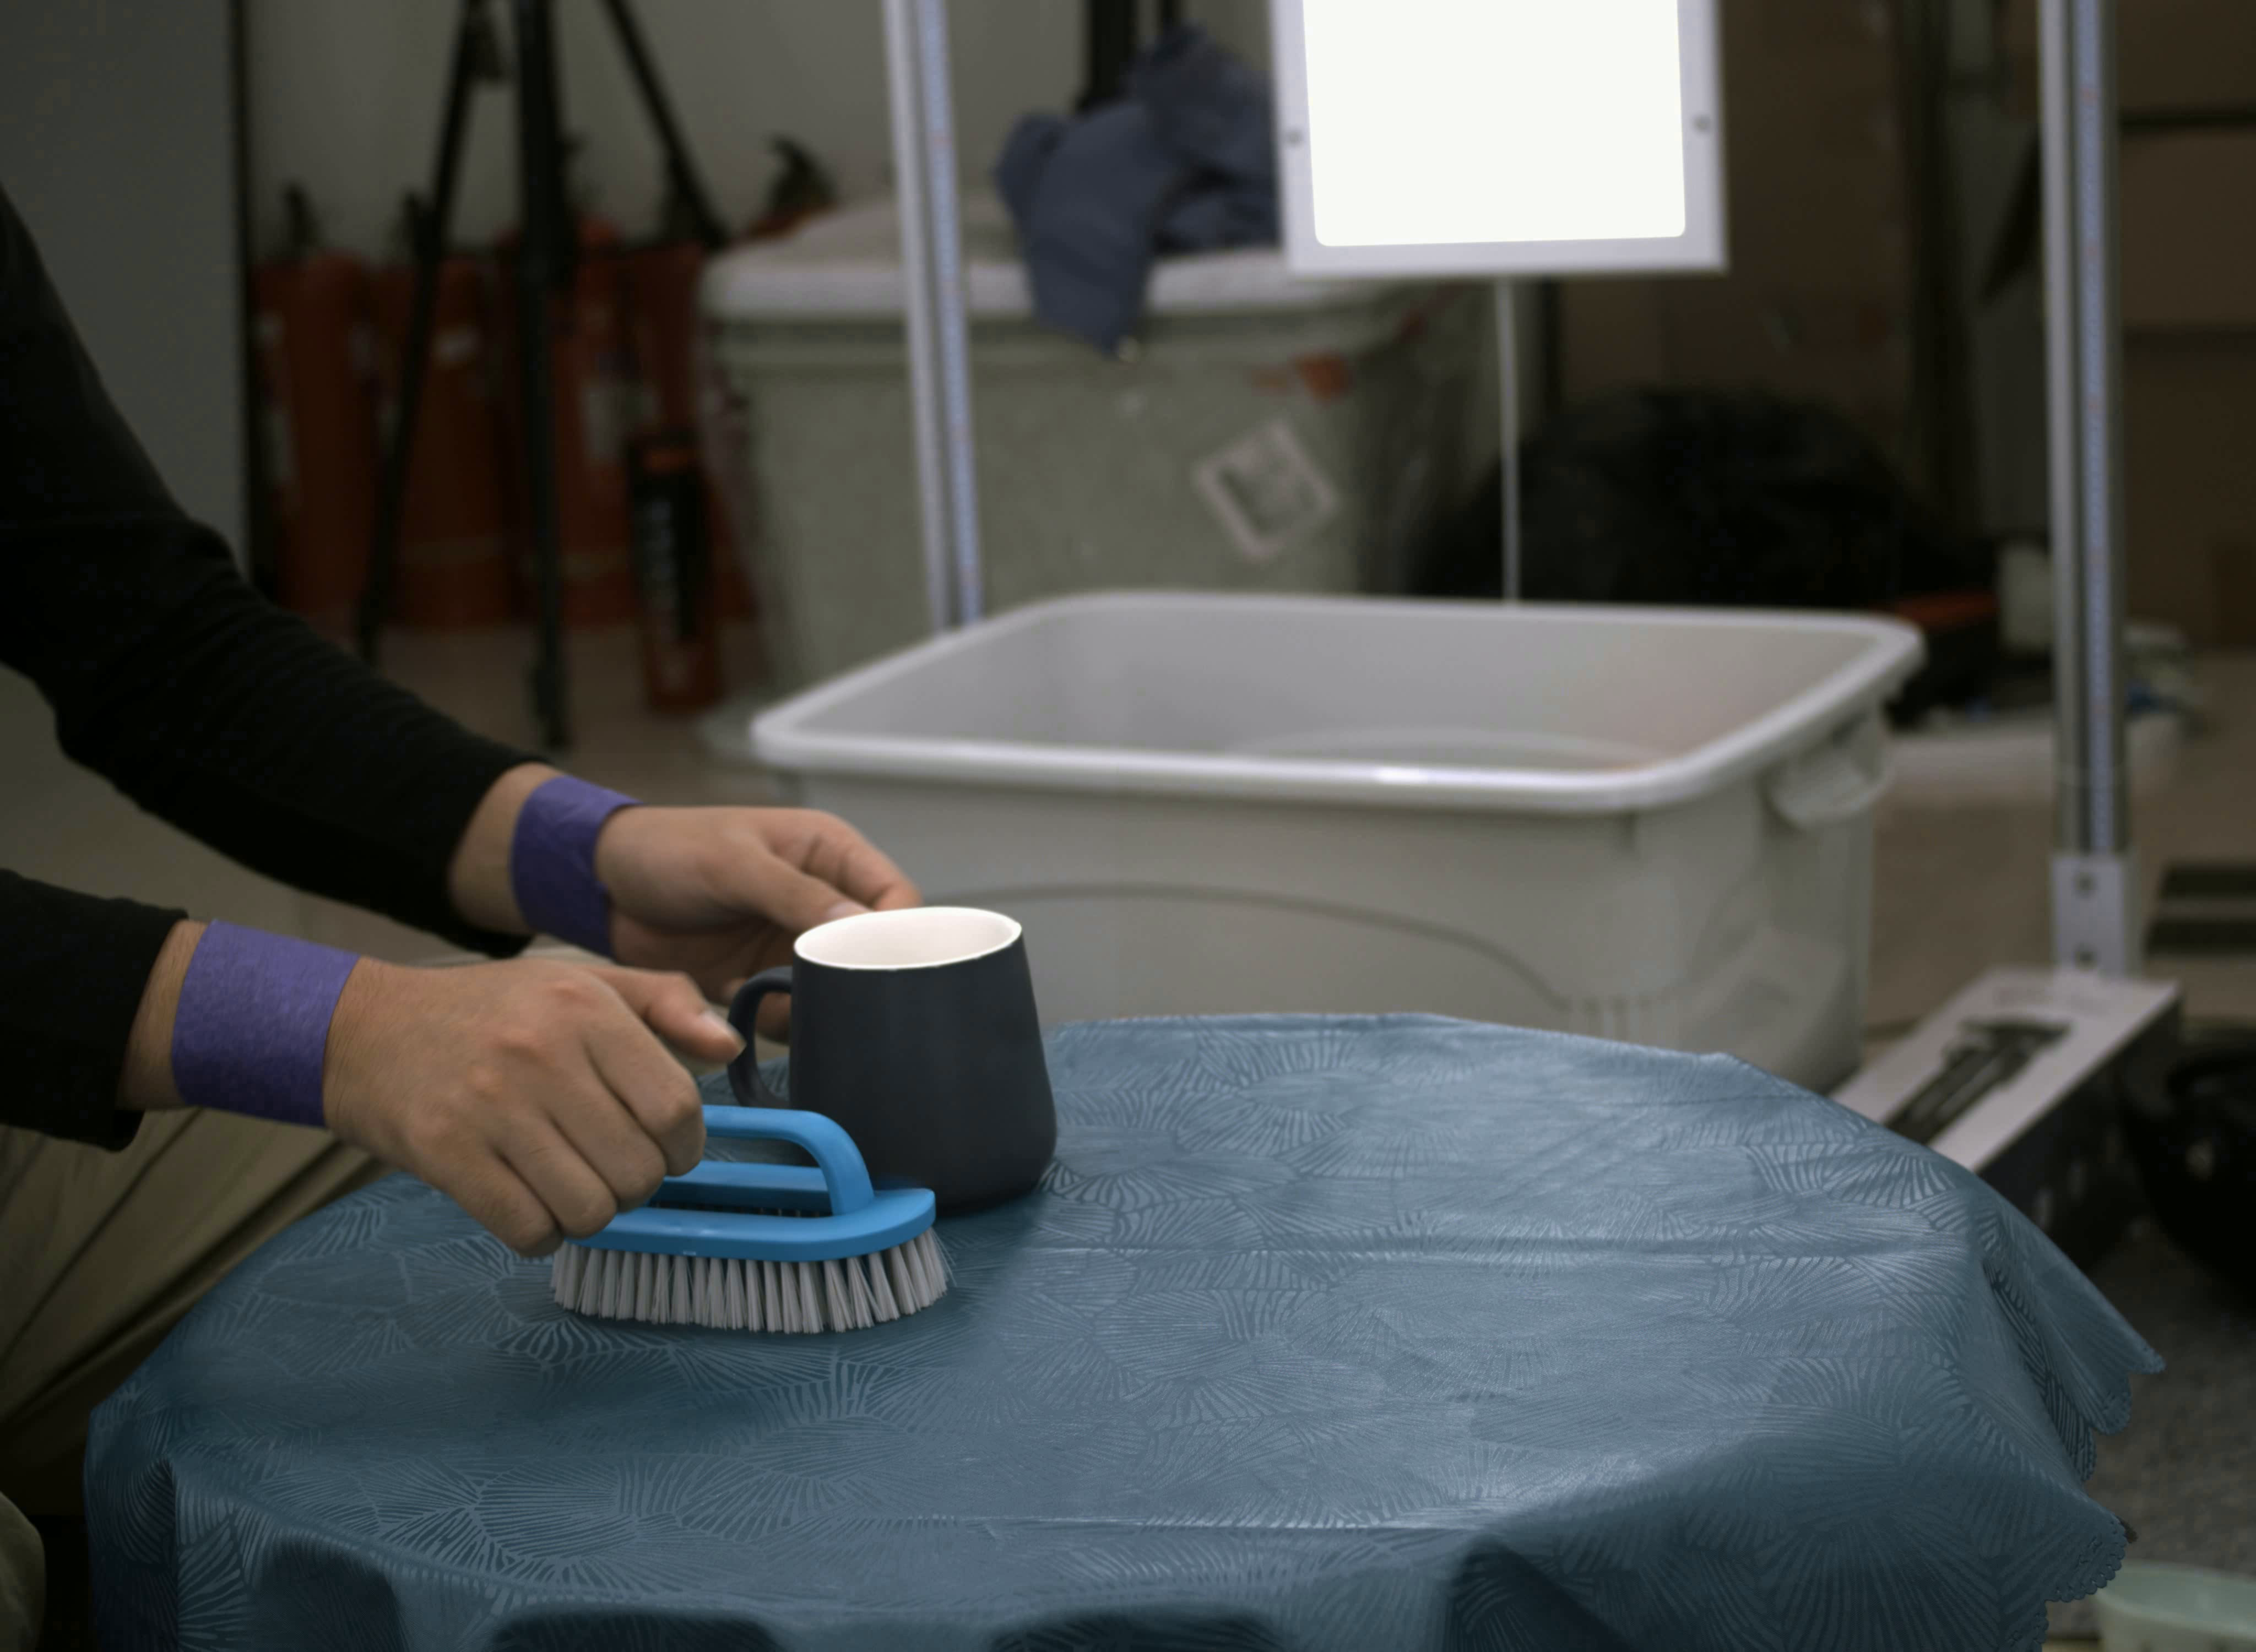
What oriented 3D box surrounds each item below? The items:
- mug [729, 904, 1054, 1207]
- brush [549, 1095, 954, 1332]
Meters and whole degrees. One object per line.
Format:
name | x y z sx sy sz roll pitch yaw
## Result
mug | -0.086 0.078 1.924 0.125 0.090 0.091 6 17 32
brush | -0.129 0.121 1.825 0.144 0.064 0.082 1 20 28
